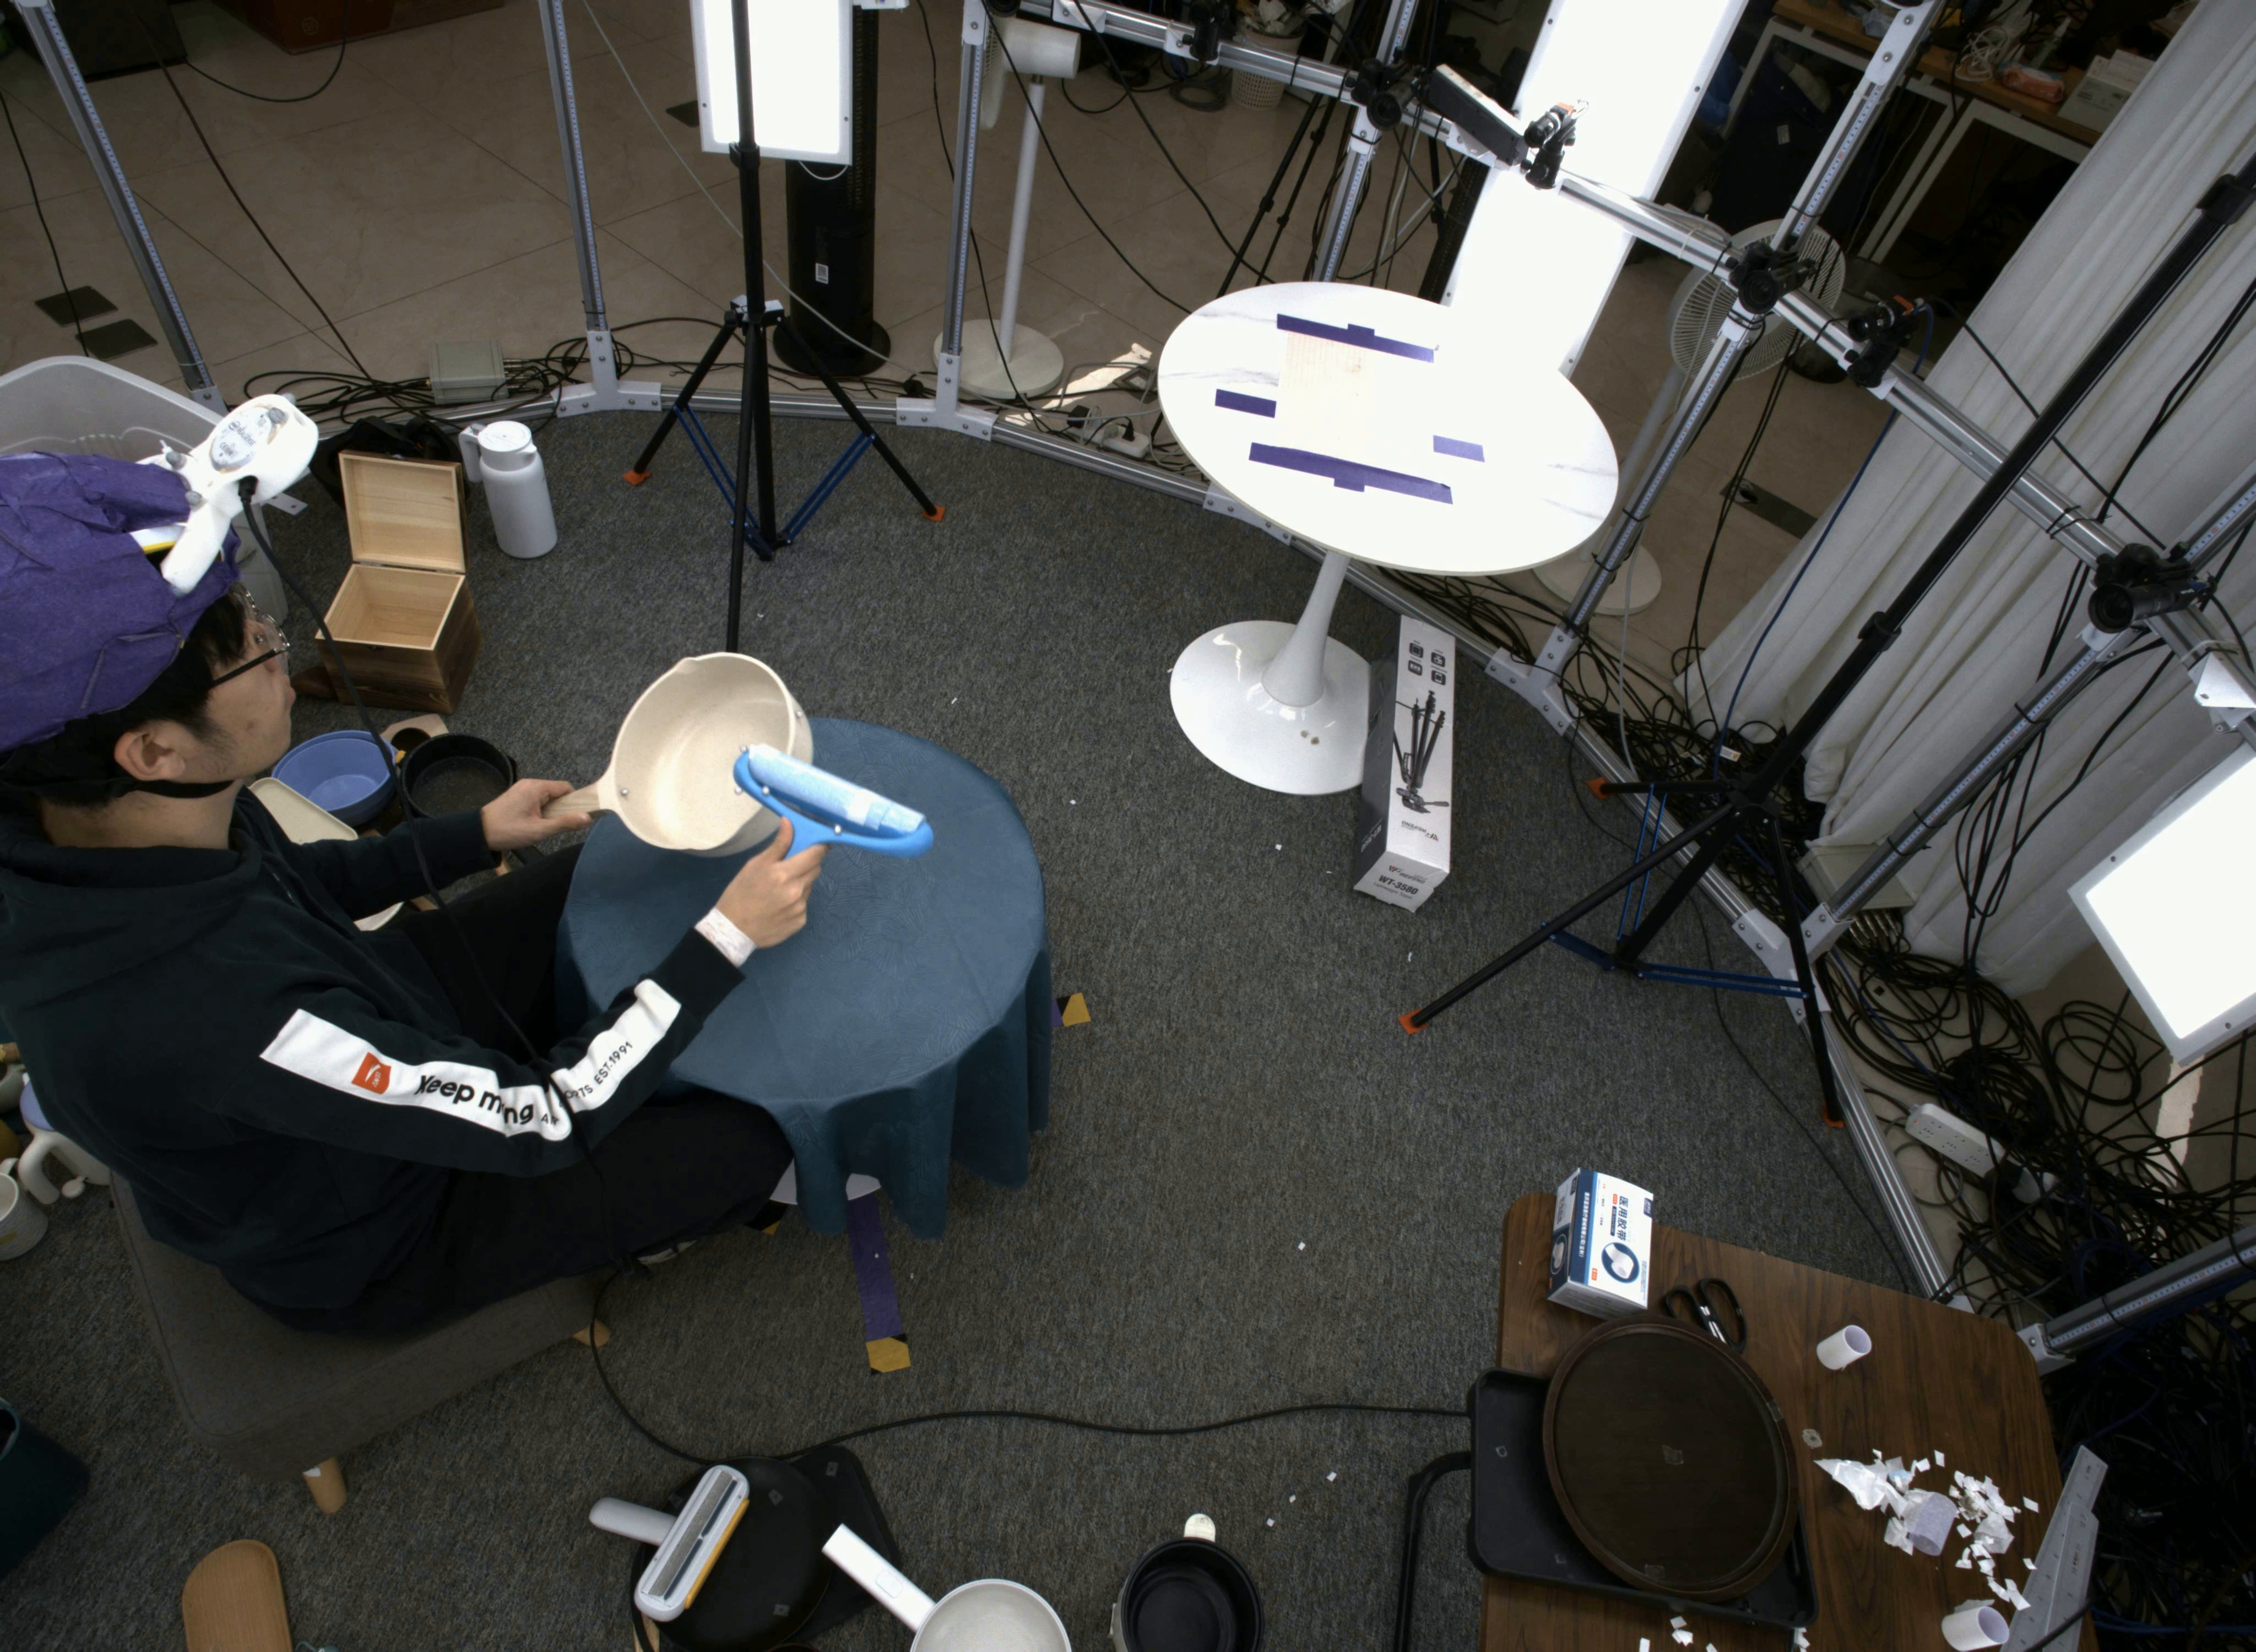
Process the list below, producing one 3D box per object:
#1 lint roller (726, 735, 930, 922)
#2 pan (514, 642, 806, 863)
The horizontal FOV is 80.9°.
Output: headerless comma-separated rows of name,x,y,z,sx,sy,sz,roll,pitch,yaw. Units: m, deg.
lint roller,-0.337,0.011,1.355,0.228,0.068,0.179,22,59,-4
pan,-0.582,-0.051,1.550,0.430,0.105,0.259,-25,68,8
